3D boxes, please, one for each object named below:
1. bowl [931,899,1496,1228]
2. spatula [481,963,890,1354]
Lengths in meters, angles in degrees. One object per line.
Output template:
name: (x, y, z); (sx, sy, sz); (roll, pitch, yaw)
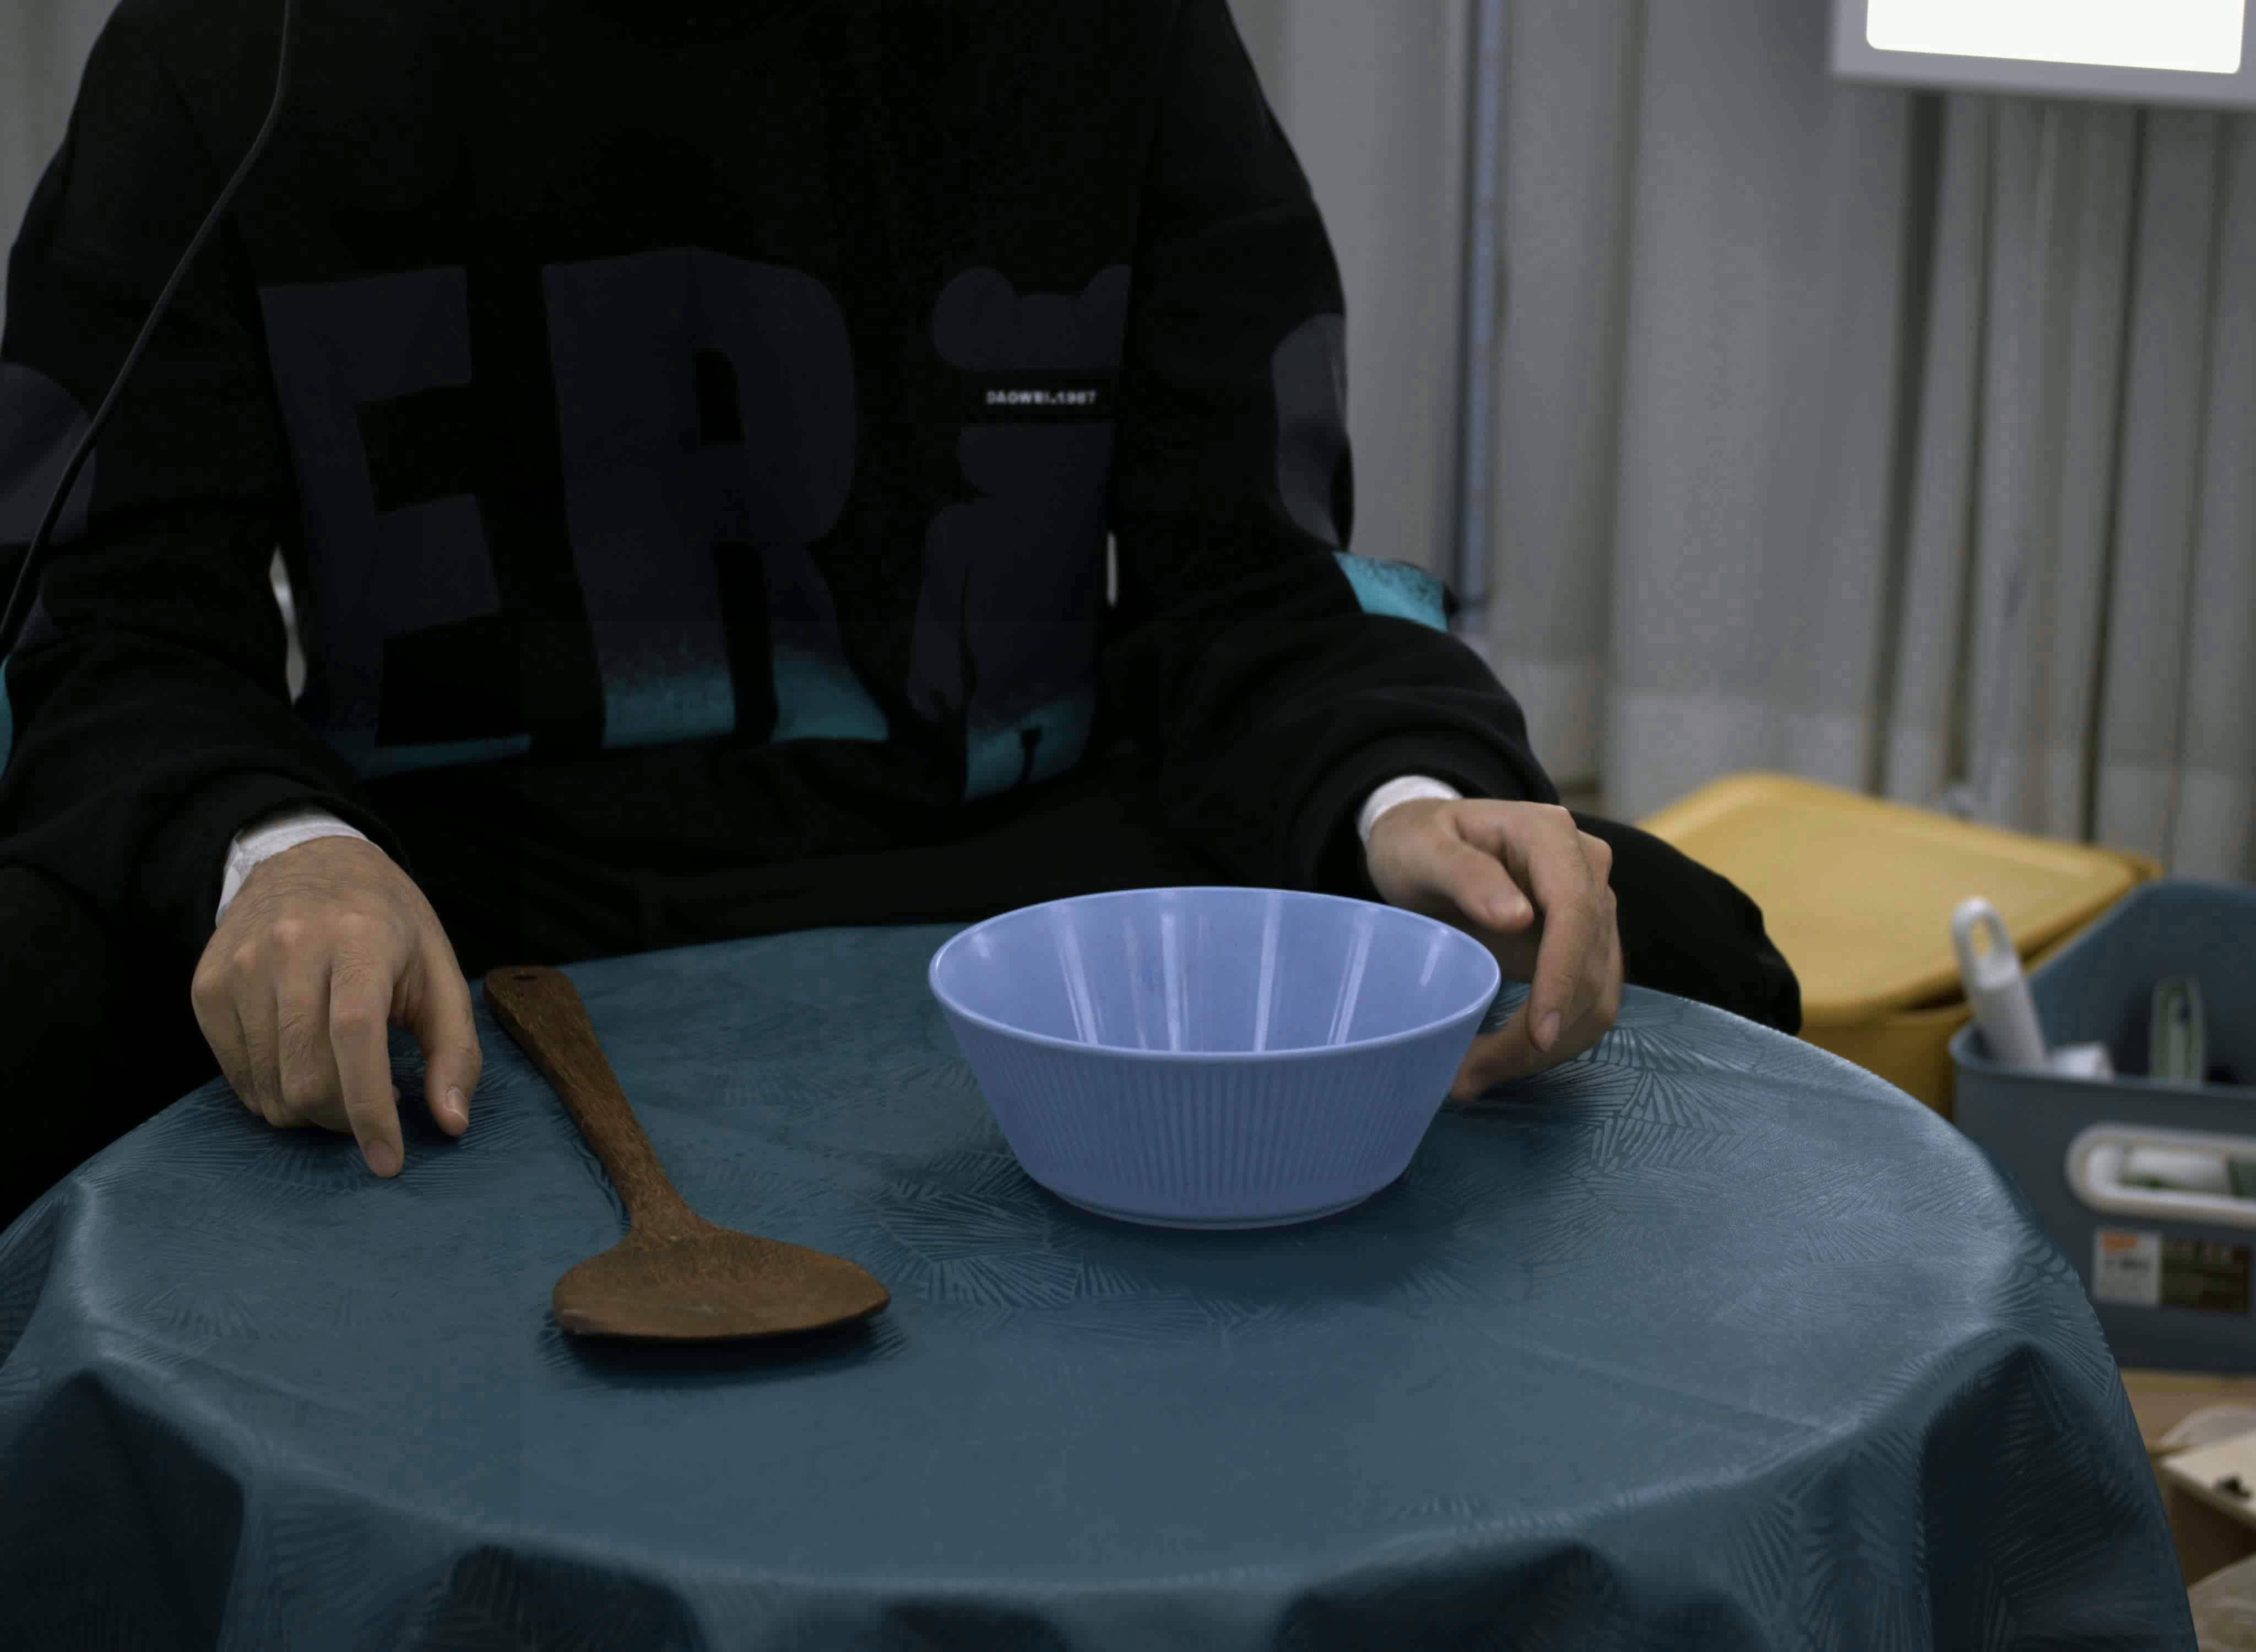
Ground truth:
bowl: (0.026, 0.075, 1.632); (0.175, 0.071, 0.175); (1, 15, 0)
spatula: (-0.160, 0.098, 1.648); (0.096, 0.016, 0.382); (-3, 16, -16)
